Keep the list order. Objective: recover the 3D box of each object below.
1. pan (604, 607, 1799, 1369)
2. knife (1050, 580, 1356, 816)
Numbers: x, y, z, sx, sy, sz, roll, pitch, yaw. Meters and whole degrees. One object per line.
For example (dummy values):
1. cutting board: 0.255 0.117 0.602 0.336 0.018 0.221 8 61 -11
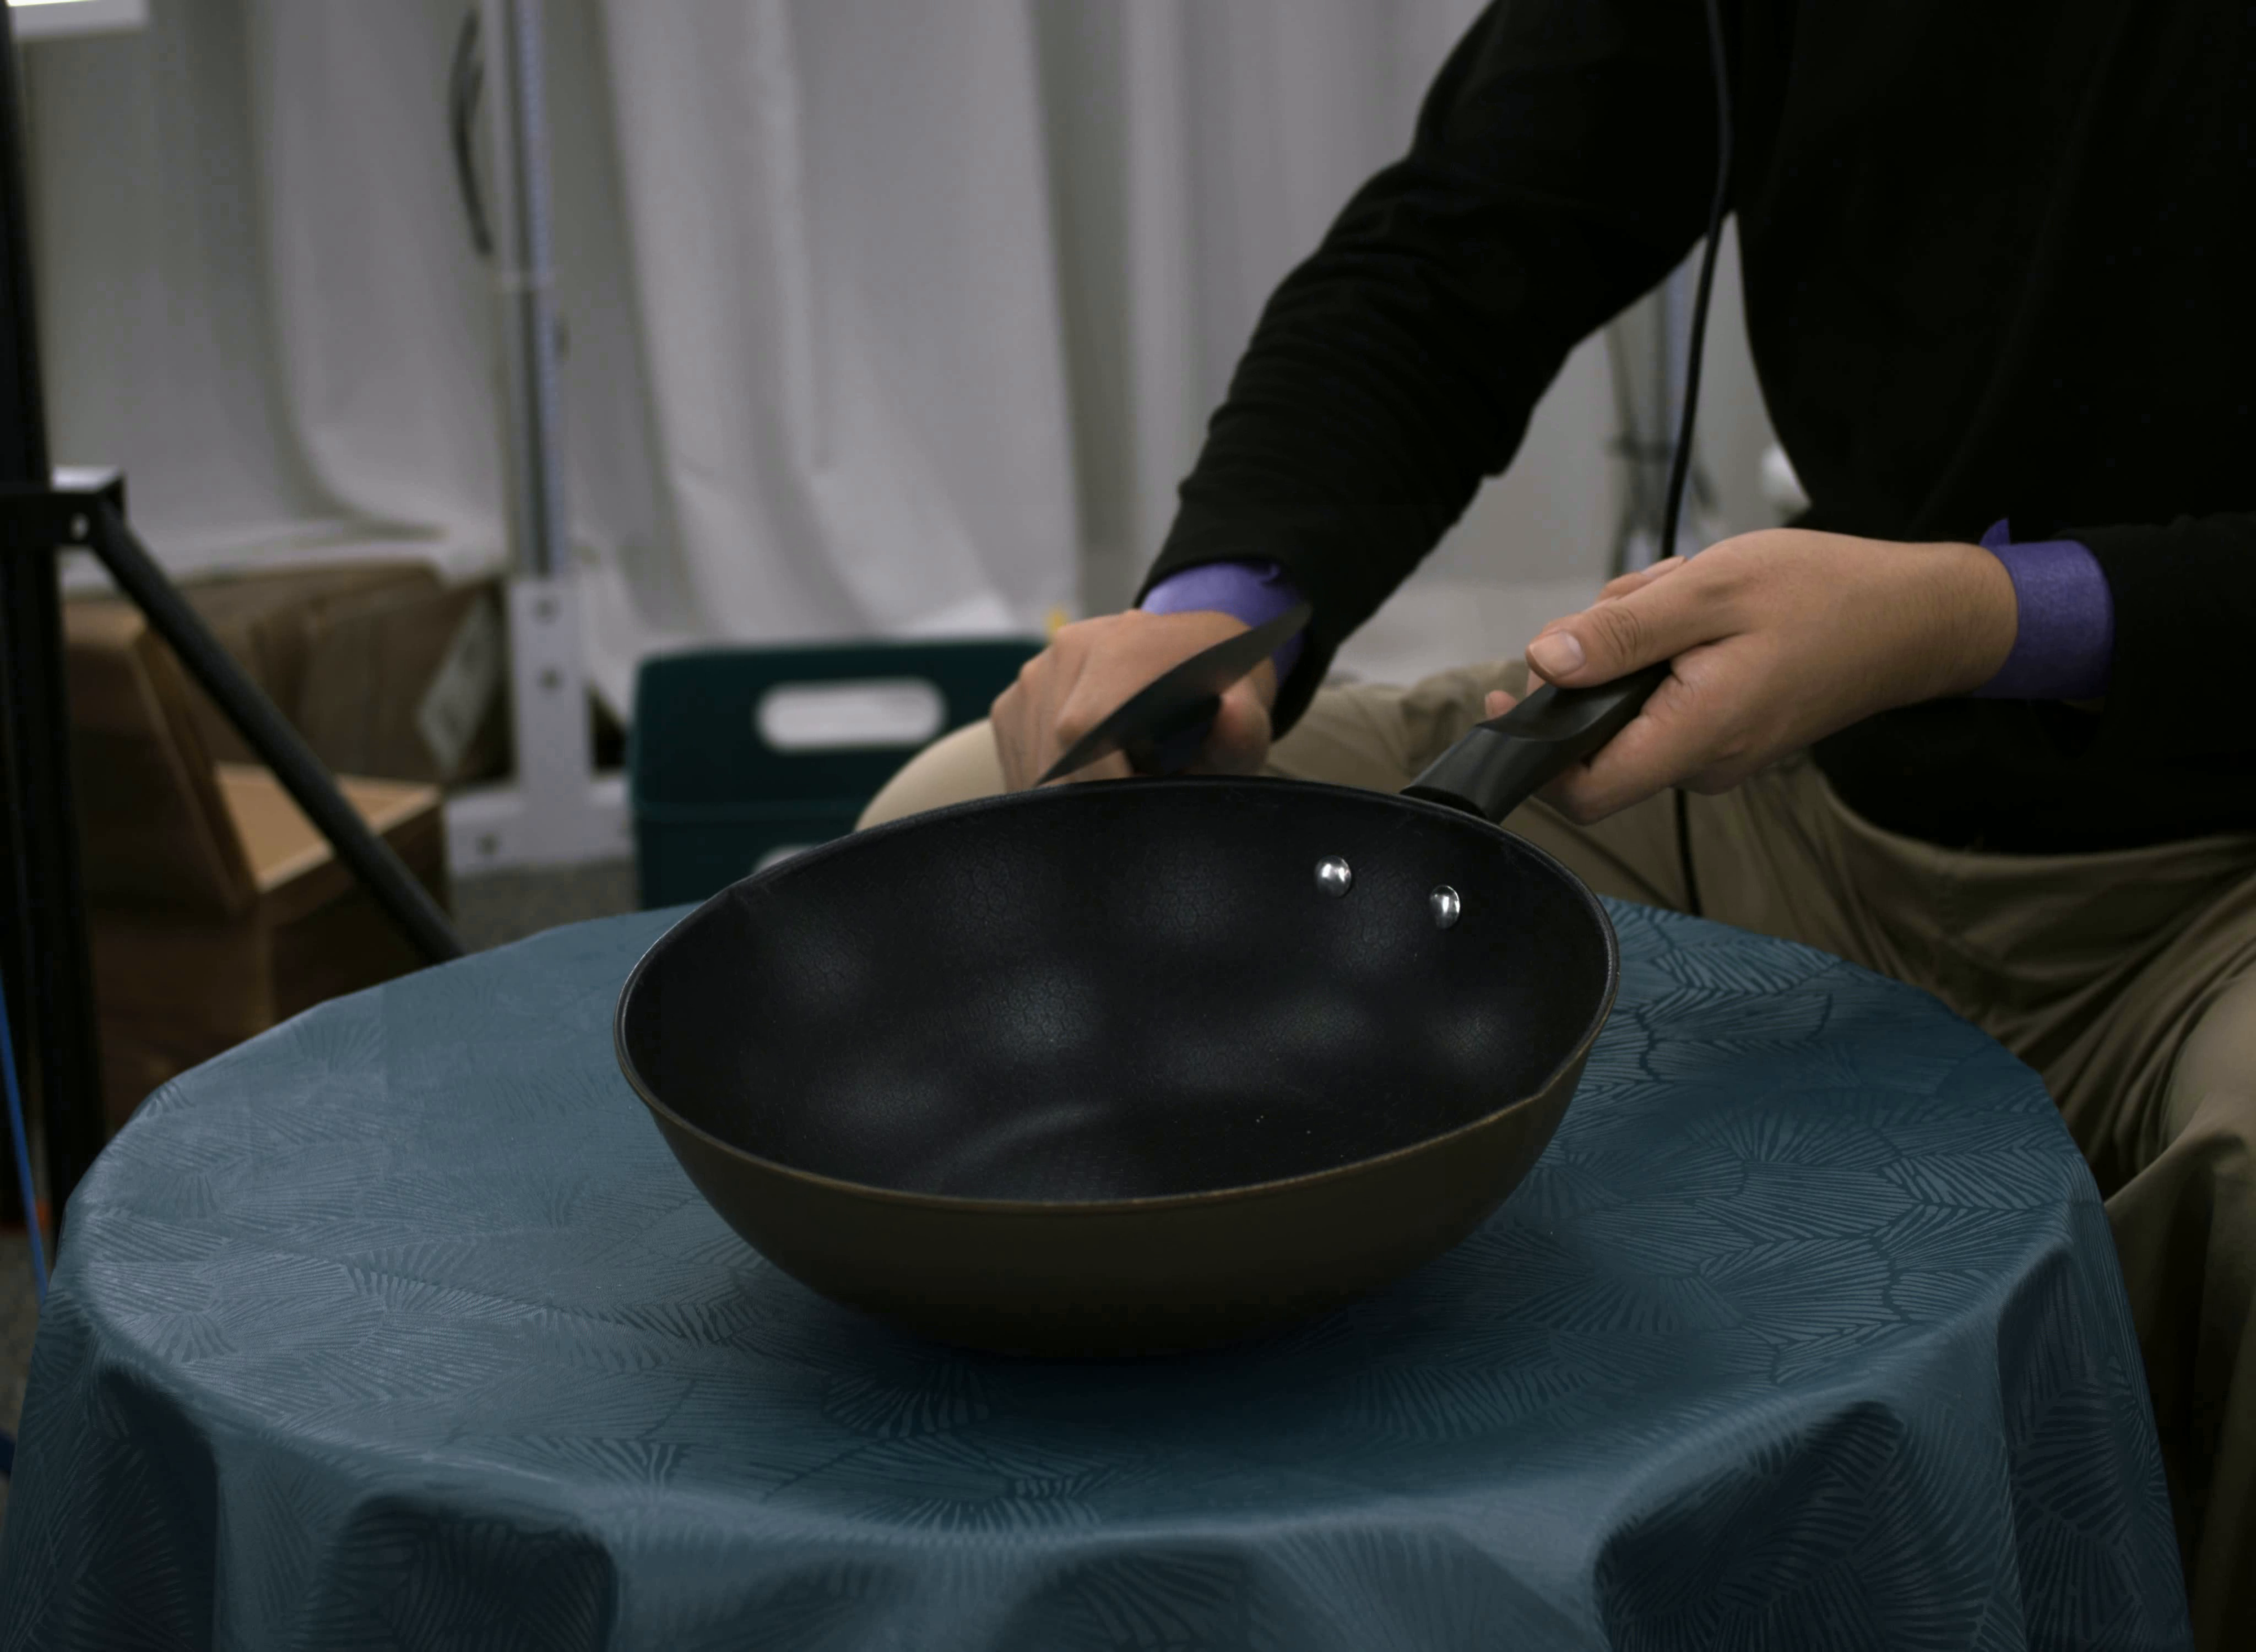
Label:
1. pan: 0.055 0.045 1.544 0.294 0.086 0.455 14 30 38
2. knife: 0.012 -0.033 1.640 0.080 0.021 0.303 -25 -4 -10
